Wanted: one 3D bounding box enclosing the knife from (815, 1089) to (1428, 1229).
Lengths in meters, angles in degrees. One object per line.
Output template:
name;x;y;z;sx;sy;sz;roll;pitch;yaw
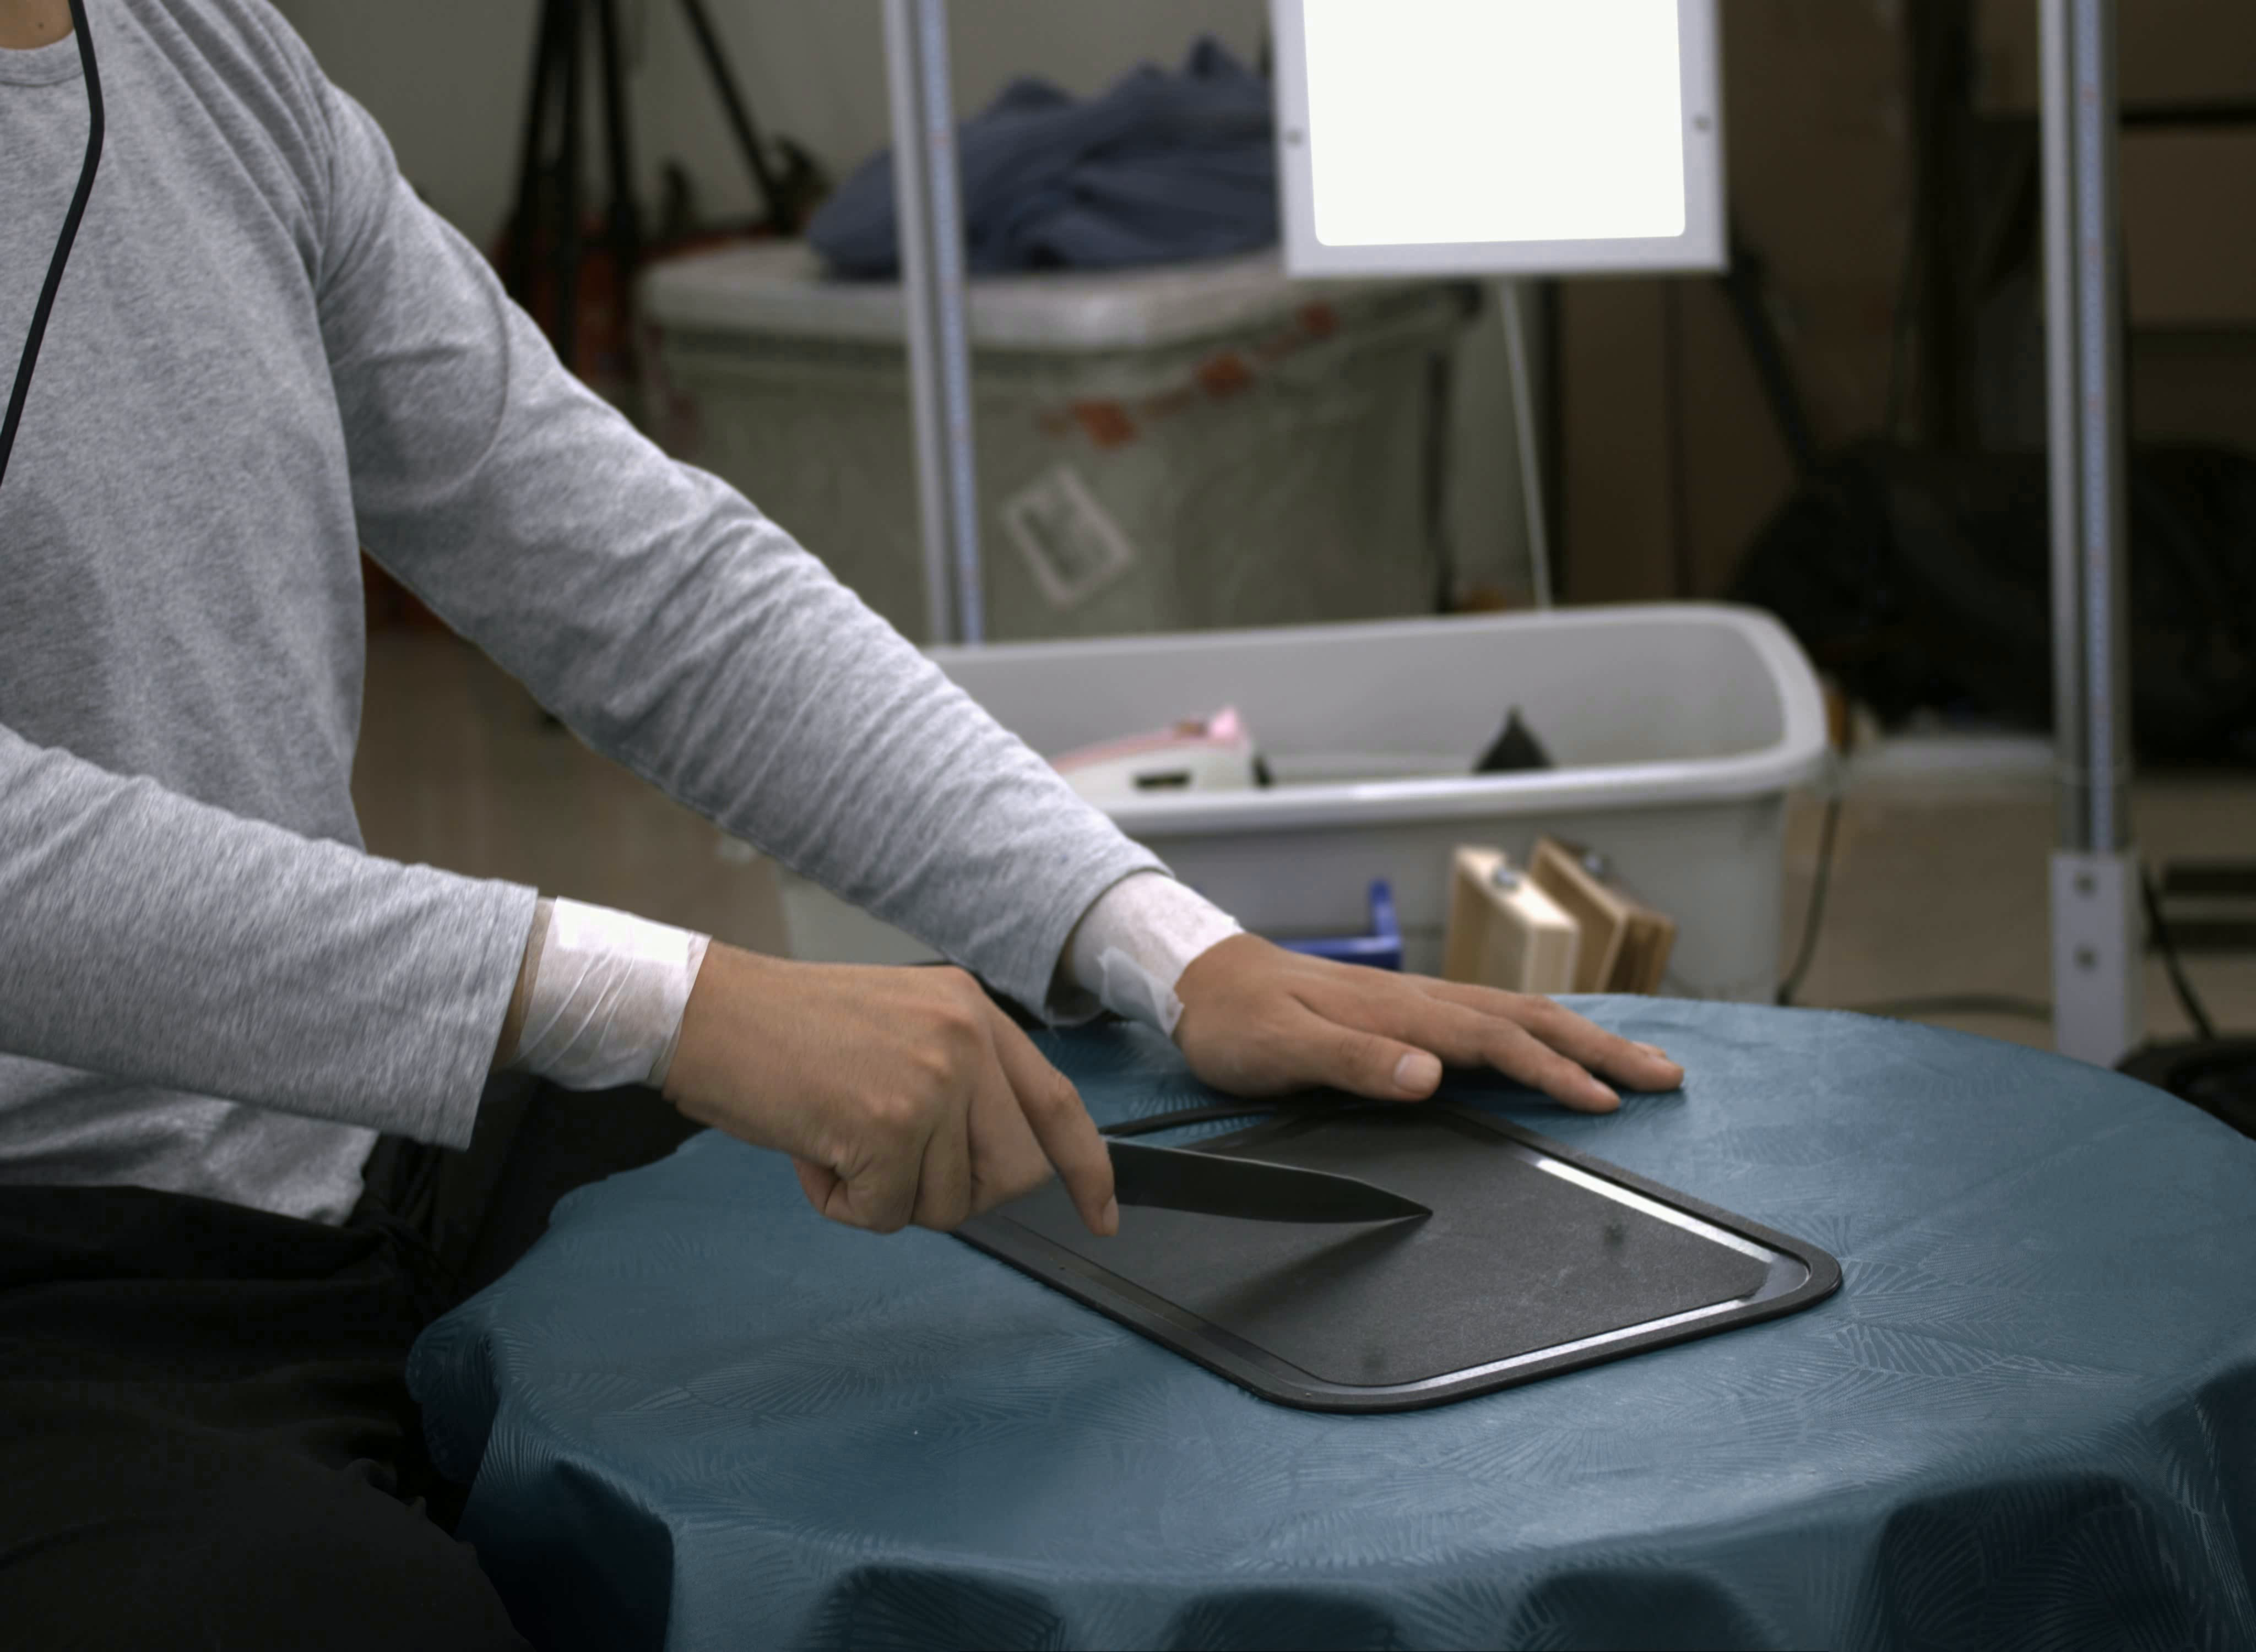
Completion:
knife;0.004;0.110;1.786;0.233;0.024;0.016;12;18;-30

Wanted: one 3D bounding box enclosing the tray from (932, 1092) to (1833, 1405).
tray;0.074;0.134;1.833;0.207;0.010;0.331;-12;15;-25
